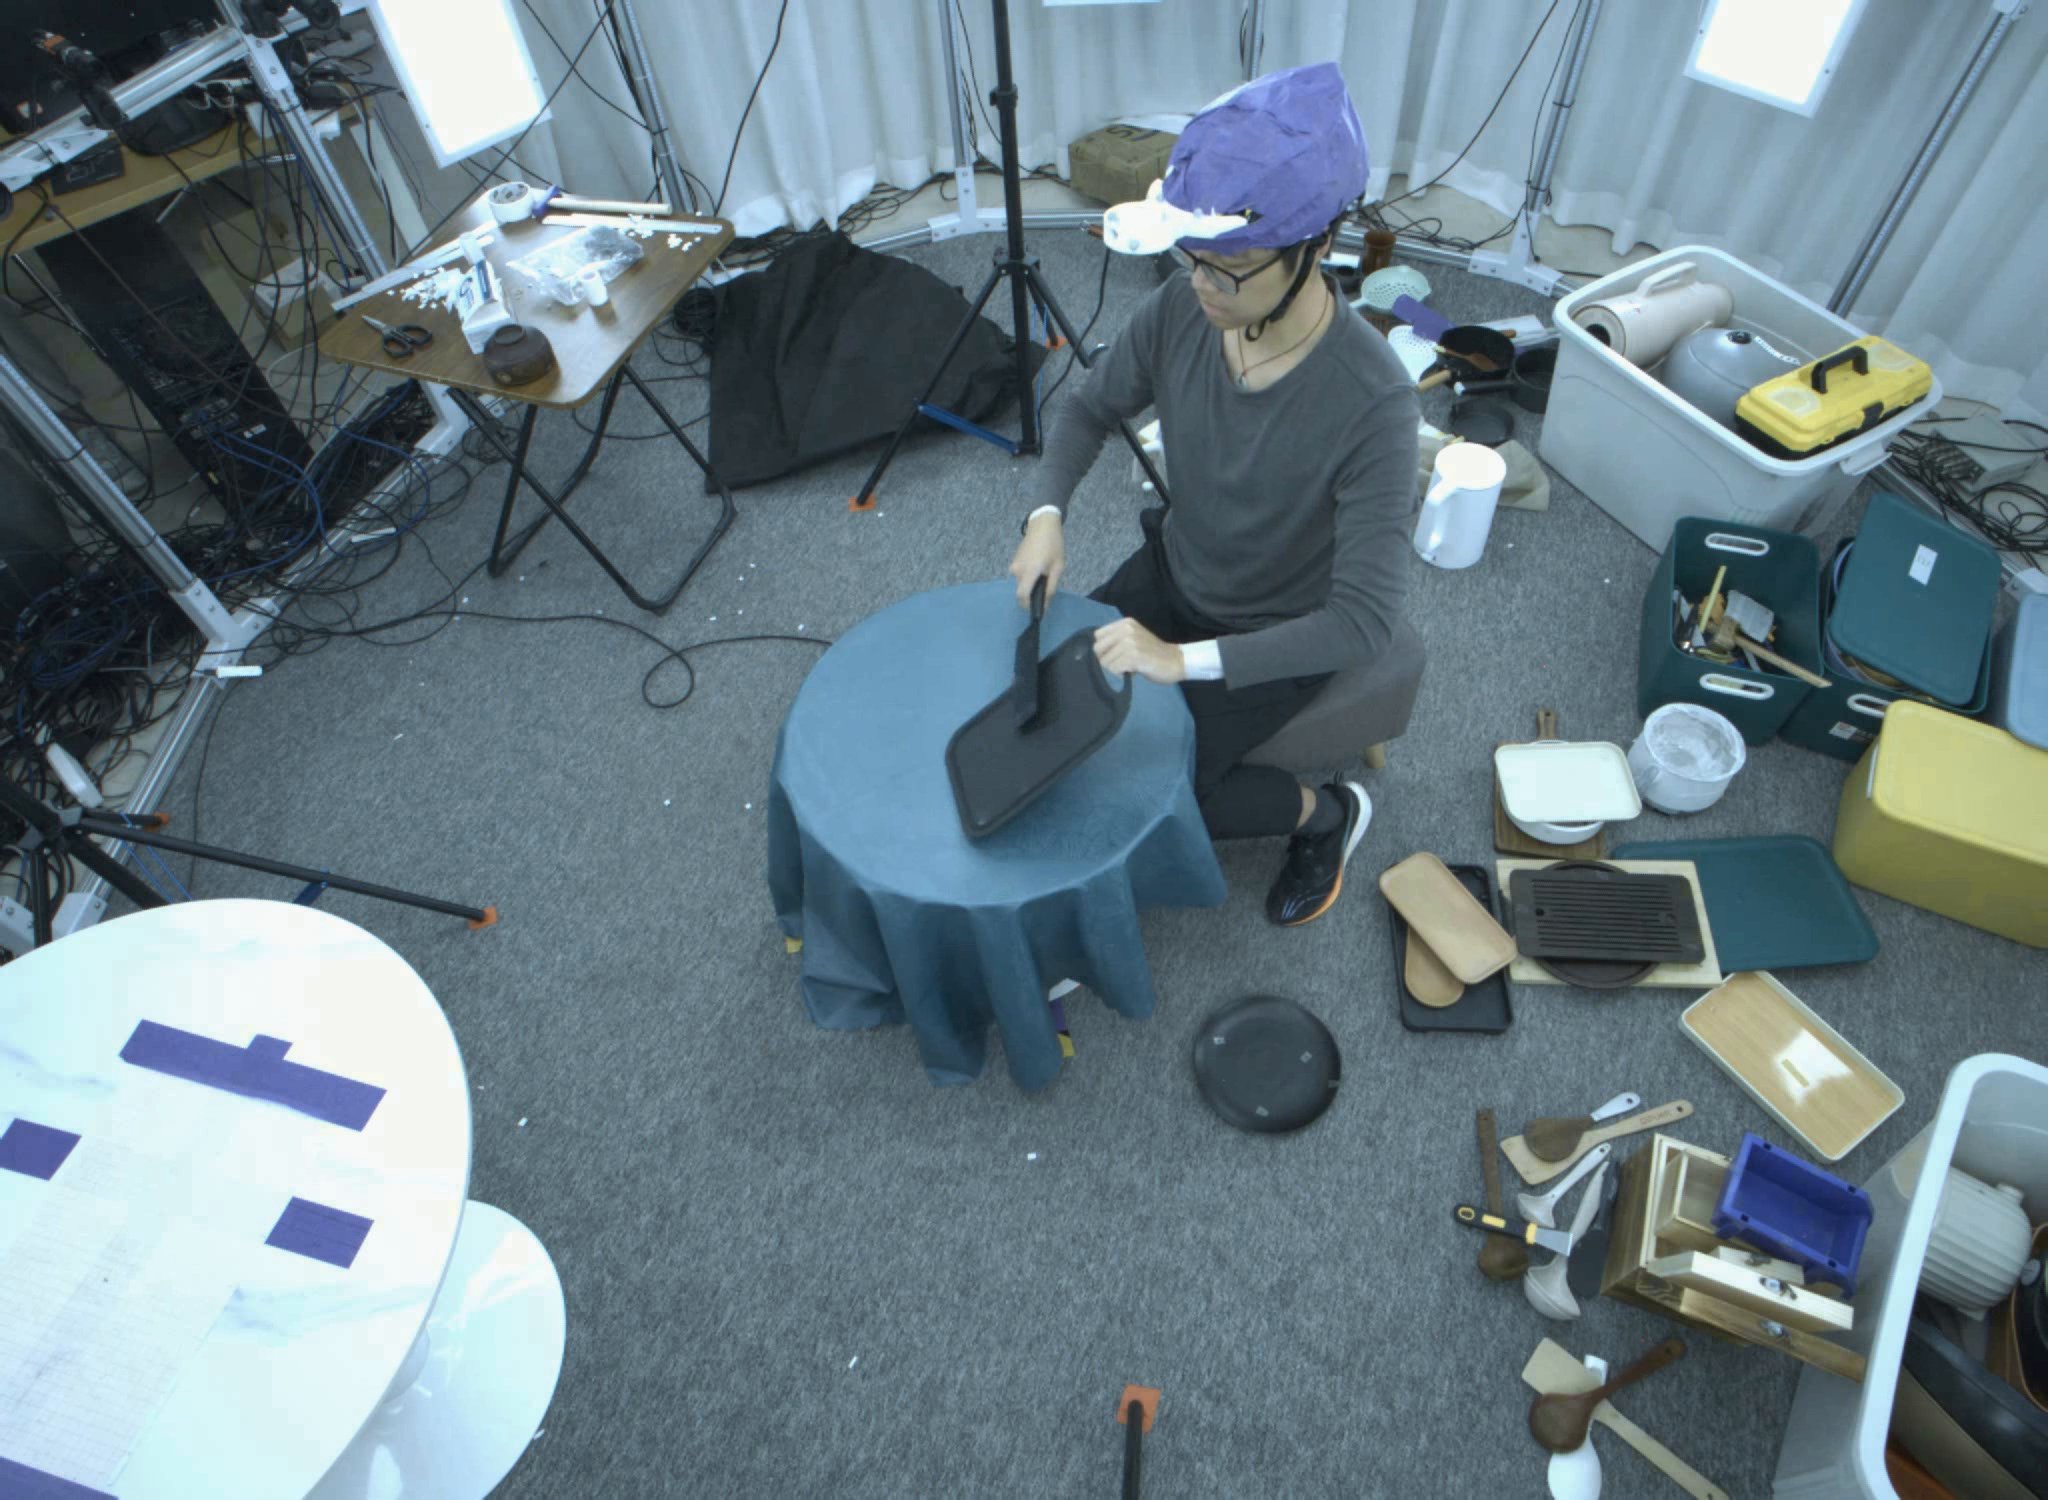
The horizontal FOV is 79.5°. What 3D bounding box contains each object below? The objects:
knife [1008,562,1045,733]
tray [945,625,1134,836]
[{"bbox_3d":[0.003,-0.155,1.768,0.021,0.080,0.300,24,53,-26],"label":"knife"},{"bbox_3d":[0.017,-0.033,1.689,0.323,0.010,0.207,-38,45,21],"label":"tray"}]
